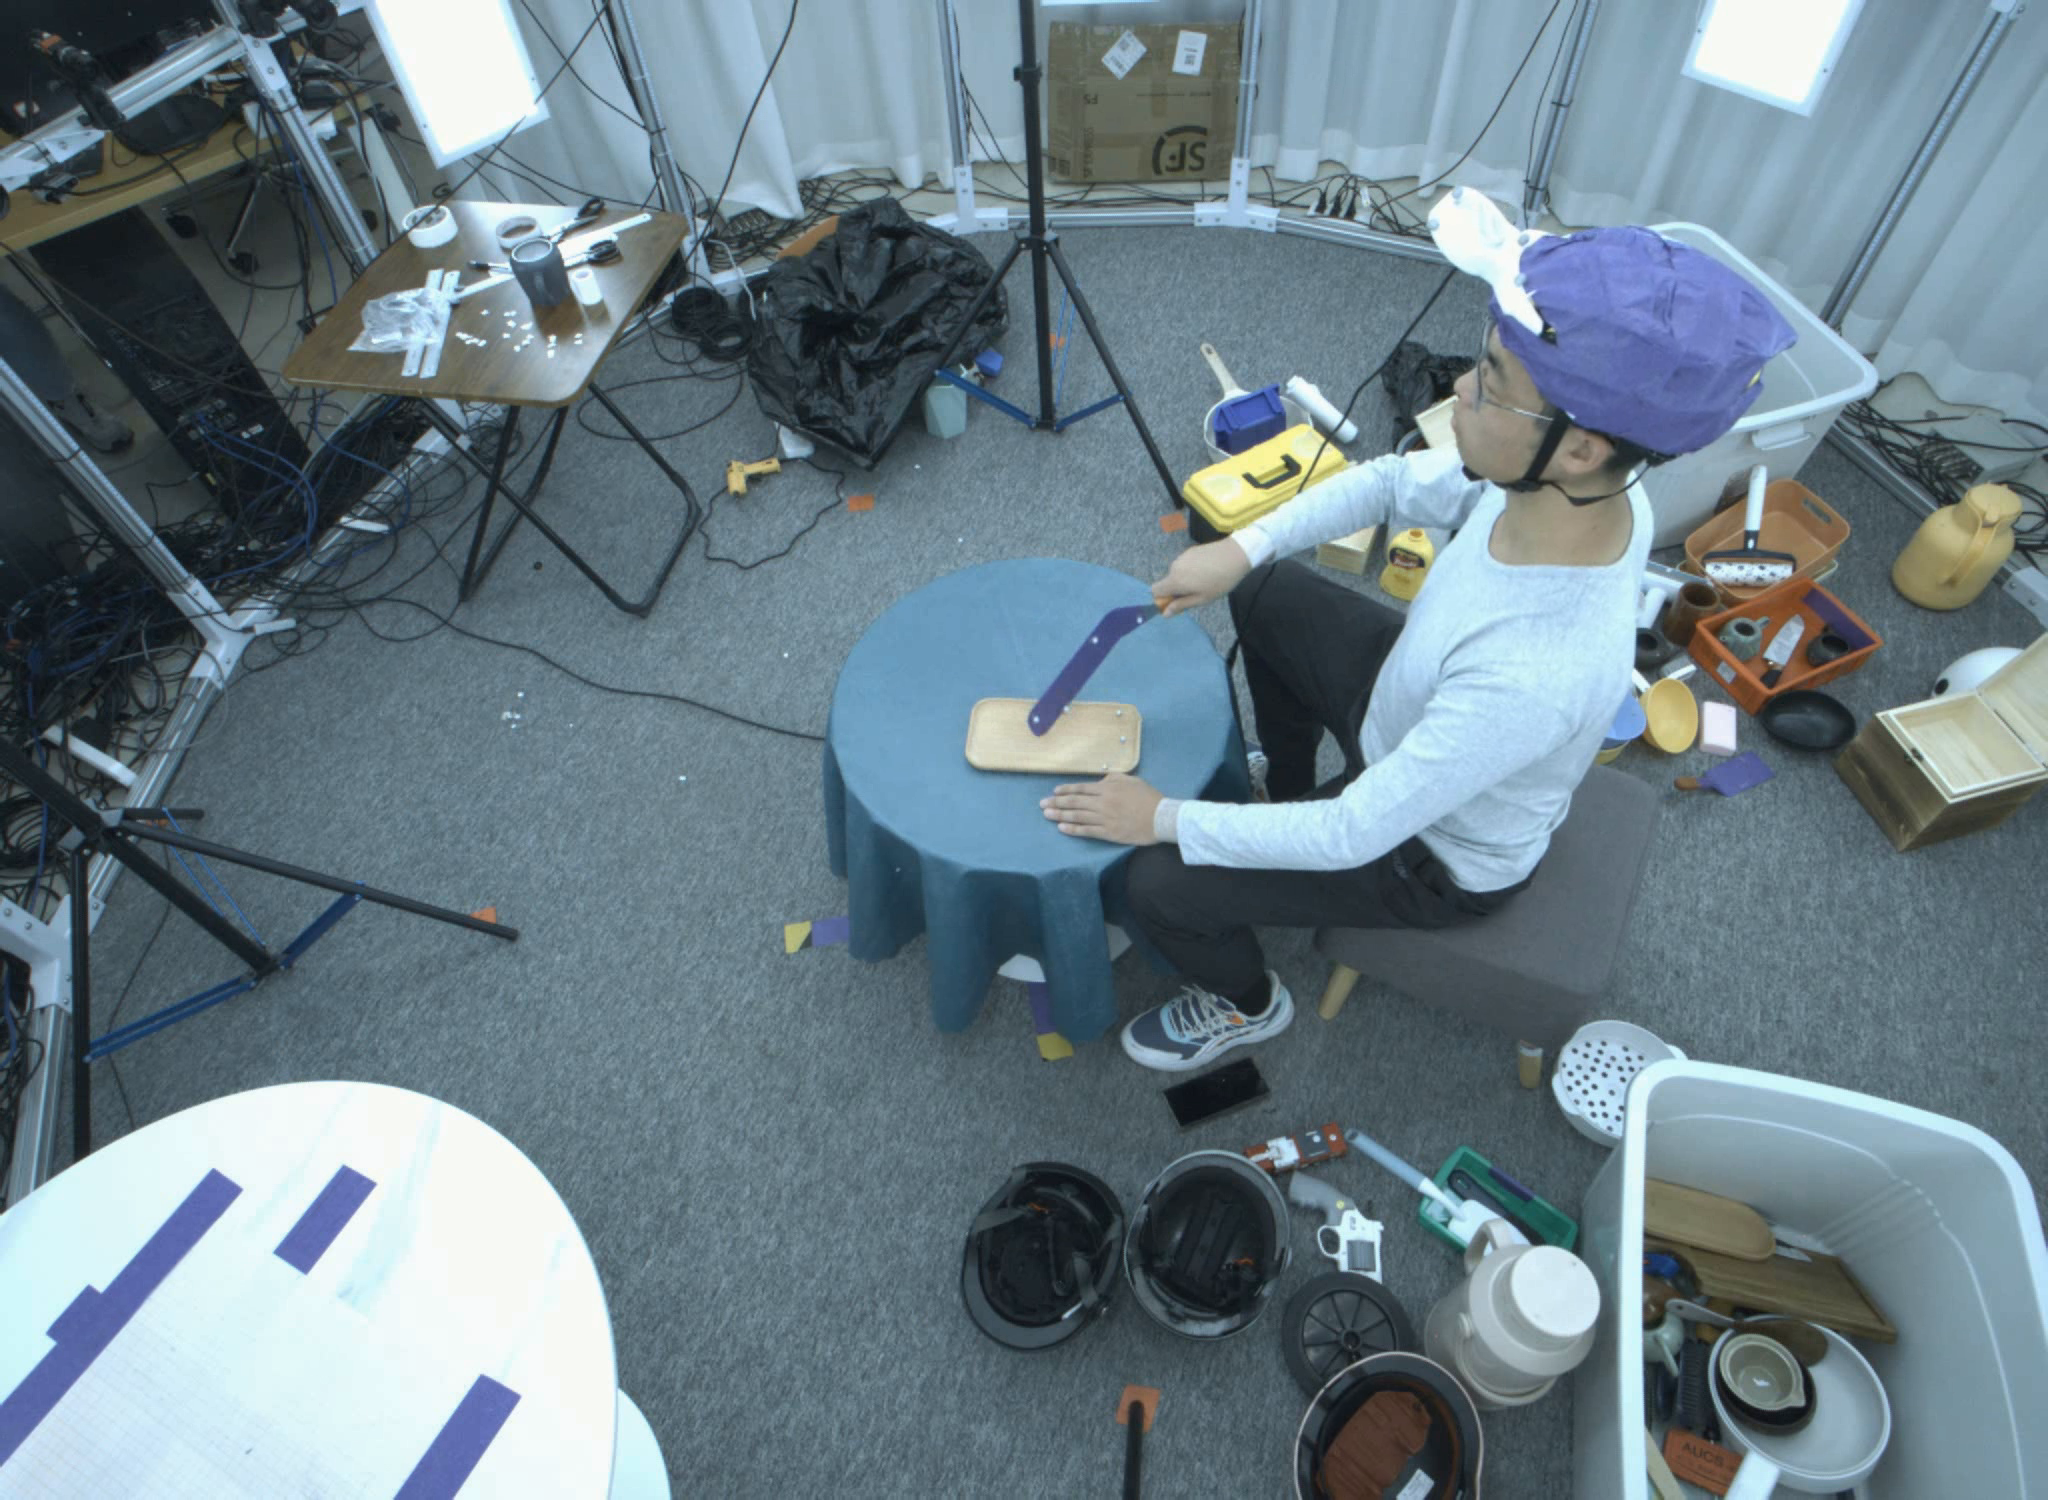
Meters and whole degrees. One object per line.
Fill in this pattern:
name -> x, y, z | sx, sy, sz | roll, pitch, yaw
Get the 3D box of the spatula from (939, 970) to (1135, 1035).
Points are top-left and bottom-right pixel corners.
spatula -> 0.022, 0.448, 2.185 | 0.355, 0.077, 0.086 | -8, 58, 17

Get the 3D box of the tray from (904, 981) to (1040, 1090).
tray -> -0.100, 0.533, 2.296 | 0.247, 0.023, 0.131 | 27, 57, 19
